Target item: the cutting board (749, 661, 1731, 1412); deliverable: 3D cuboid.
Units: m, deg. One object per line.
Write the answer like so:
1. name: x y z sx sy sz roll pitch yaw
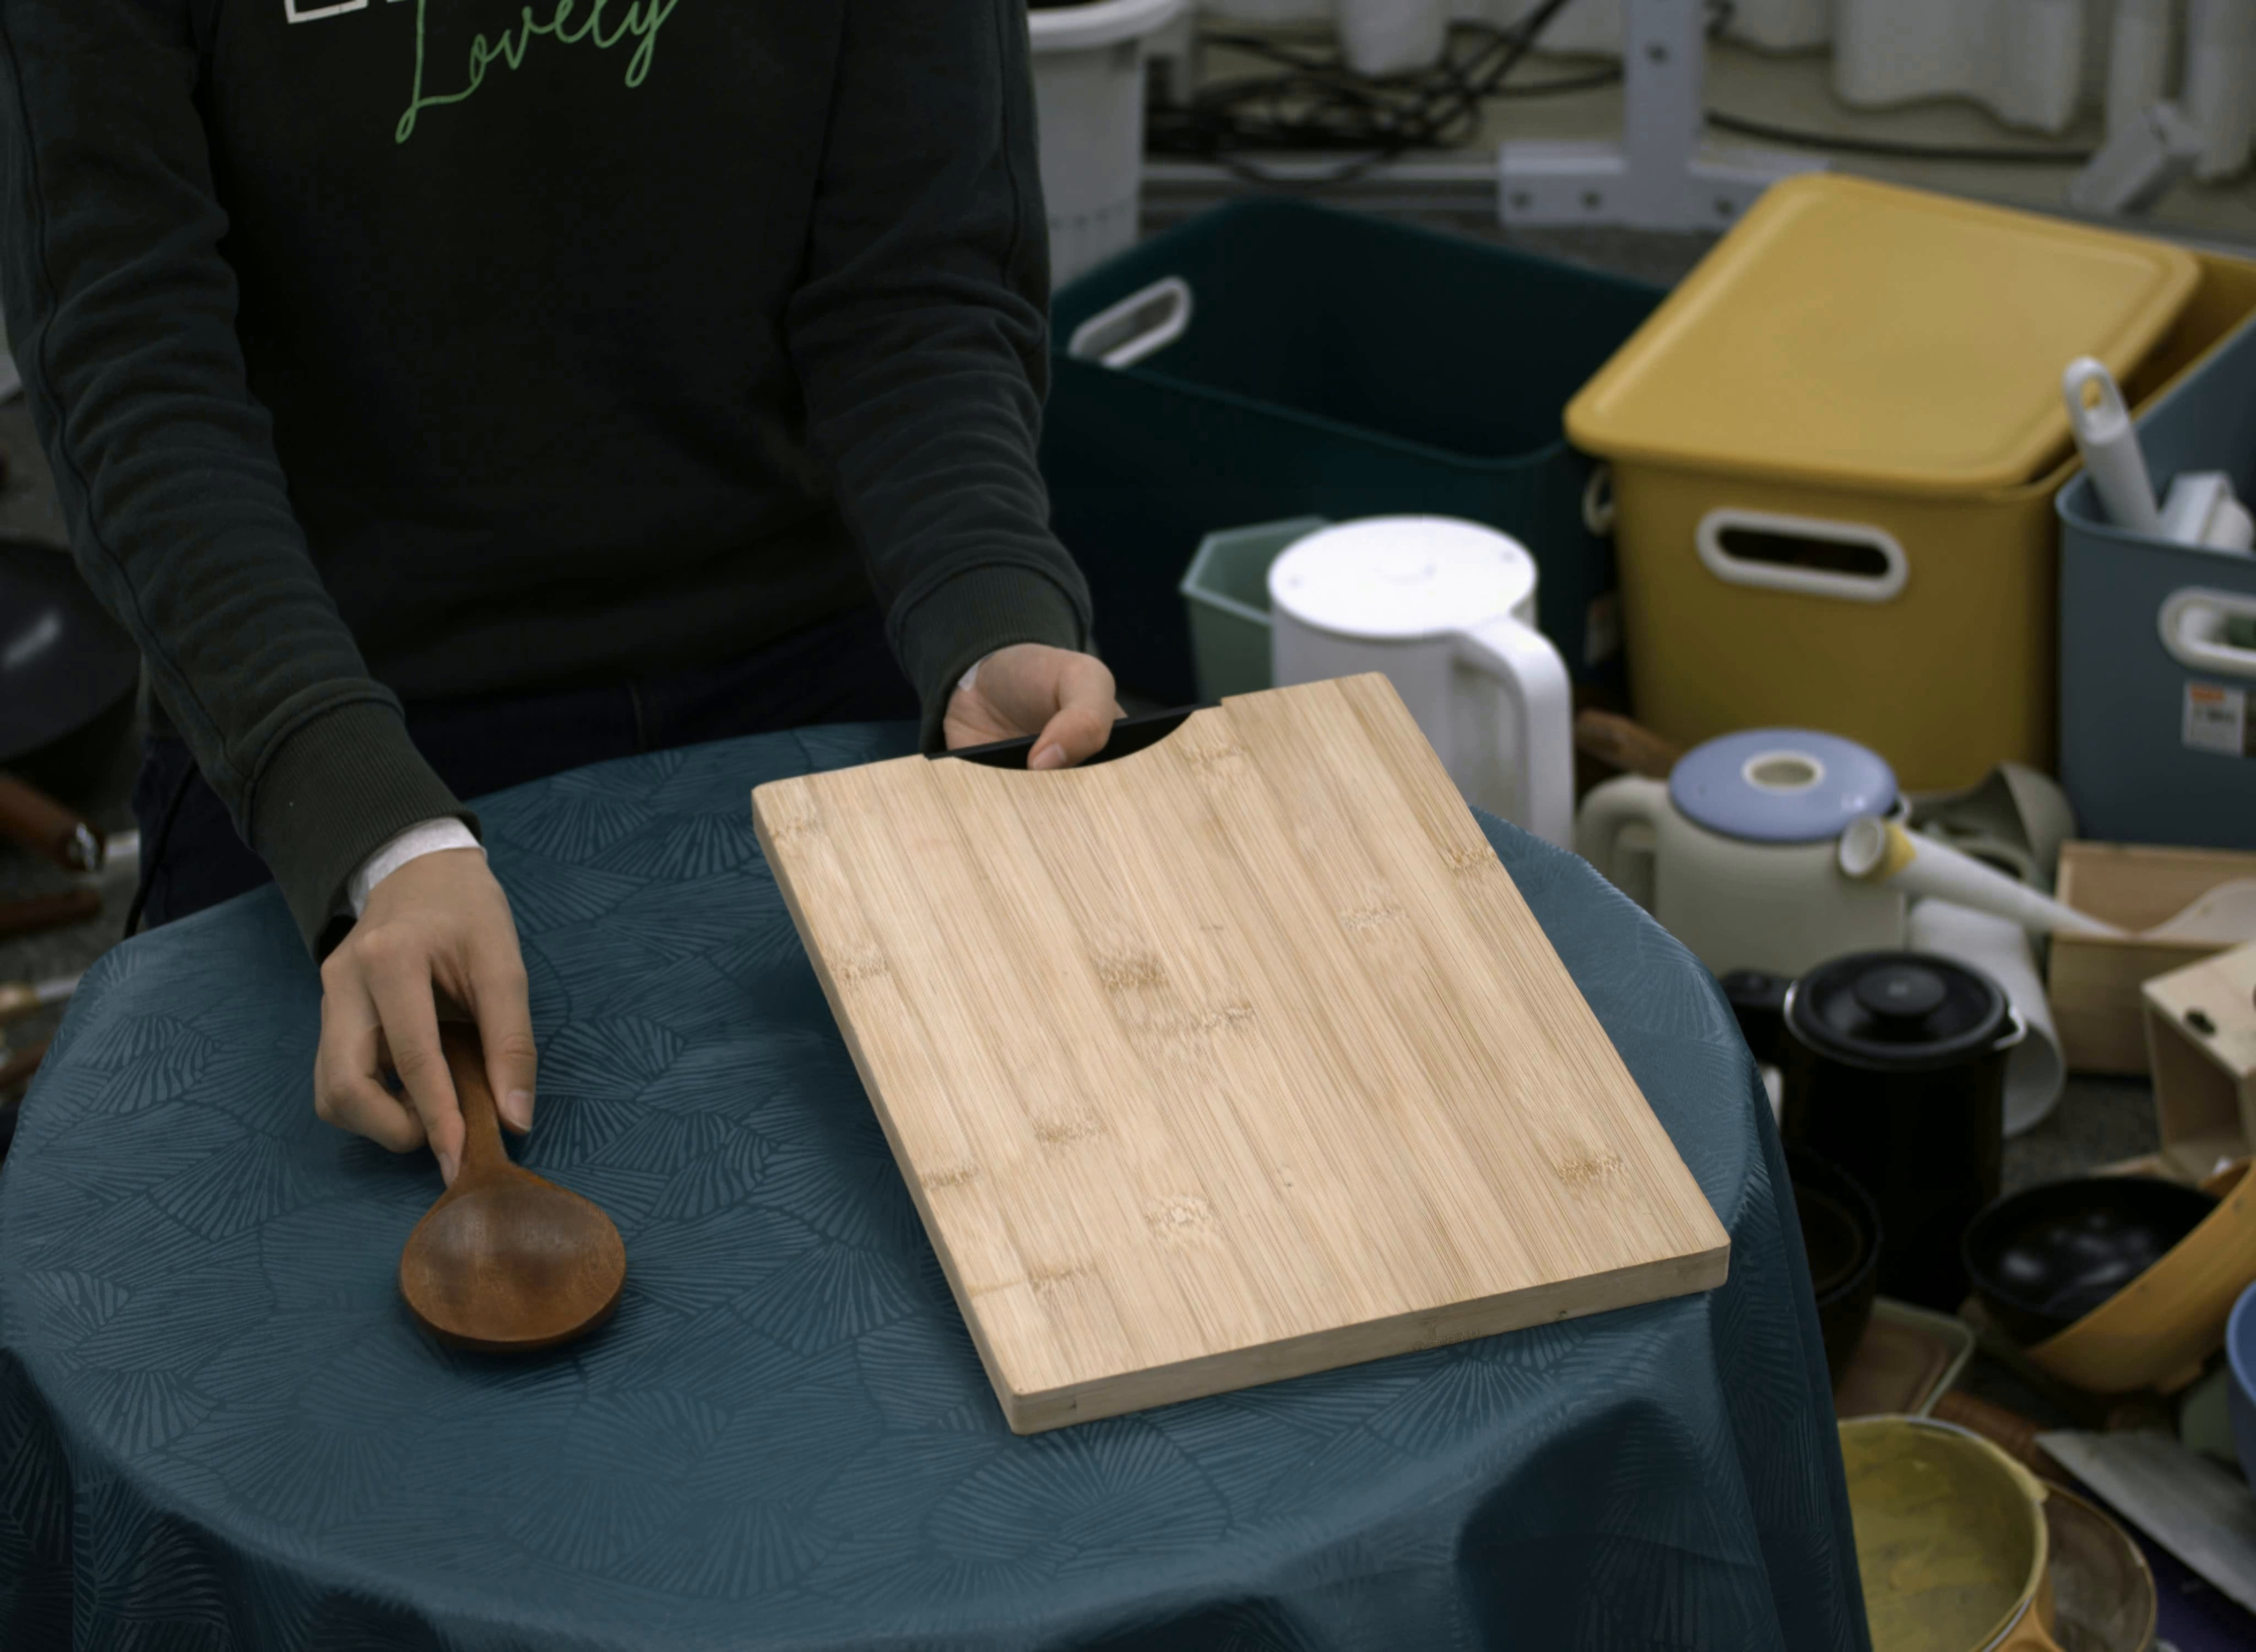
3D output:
1. cutting board: 0.028 0.063 1.899 0.251 0.023 0.353 -10 36 -15

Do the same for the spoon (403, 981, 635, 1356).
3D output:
1. spoon: -0.211 0.114 1.866 0.075 0.017 0.218 -10 32 -9
